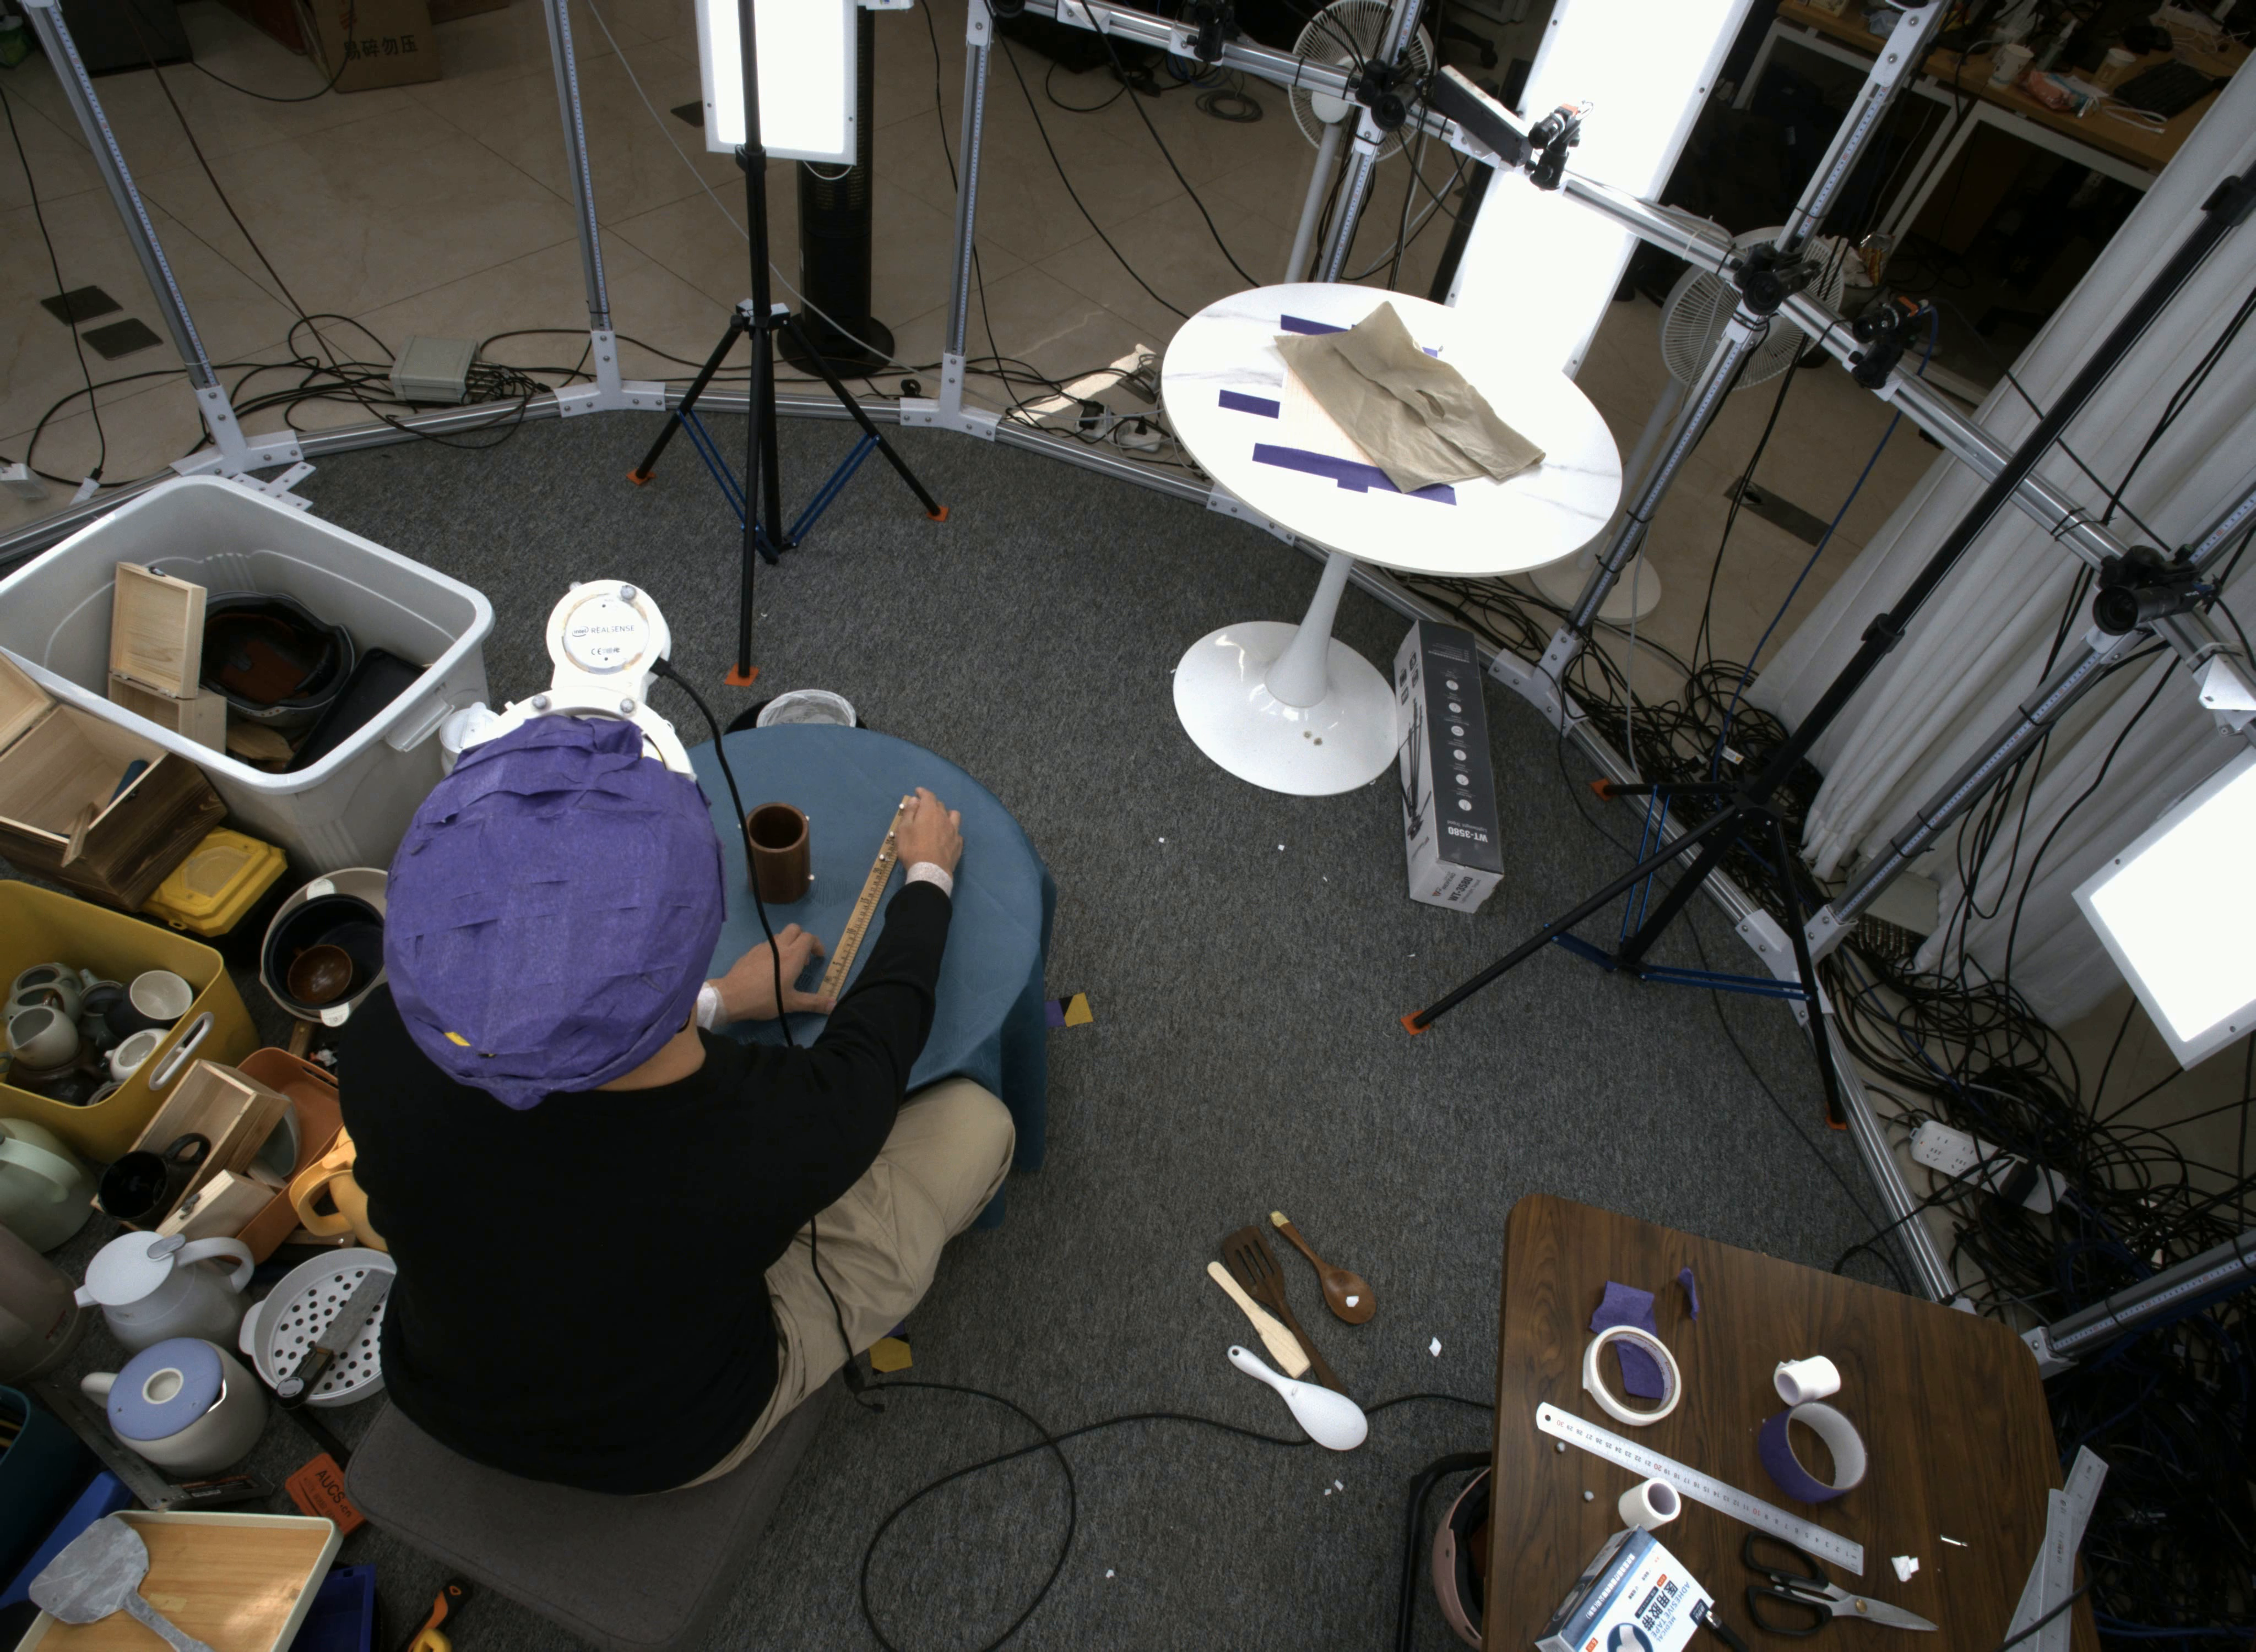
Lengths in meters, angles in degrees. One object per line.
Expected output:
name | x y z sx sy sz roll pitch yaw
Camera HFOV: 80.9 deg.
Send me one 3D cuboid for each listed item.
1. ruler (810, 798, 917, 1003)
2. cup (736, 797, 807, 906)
ruler | -0.336 0.084 1.672 0.027 0.023 0.328 13 51 6
cup | -0.443 0.031 1.615 0.087 0.121 0.086 6 52 -6
